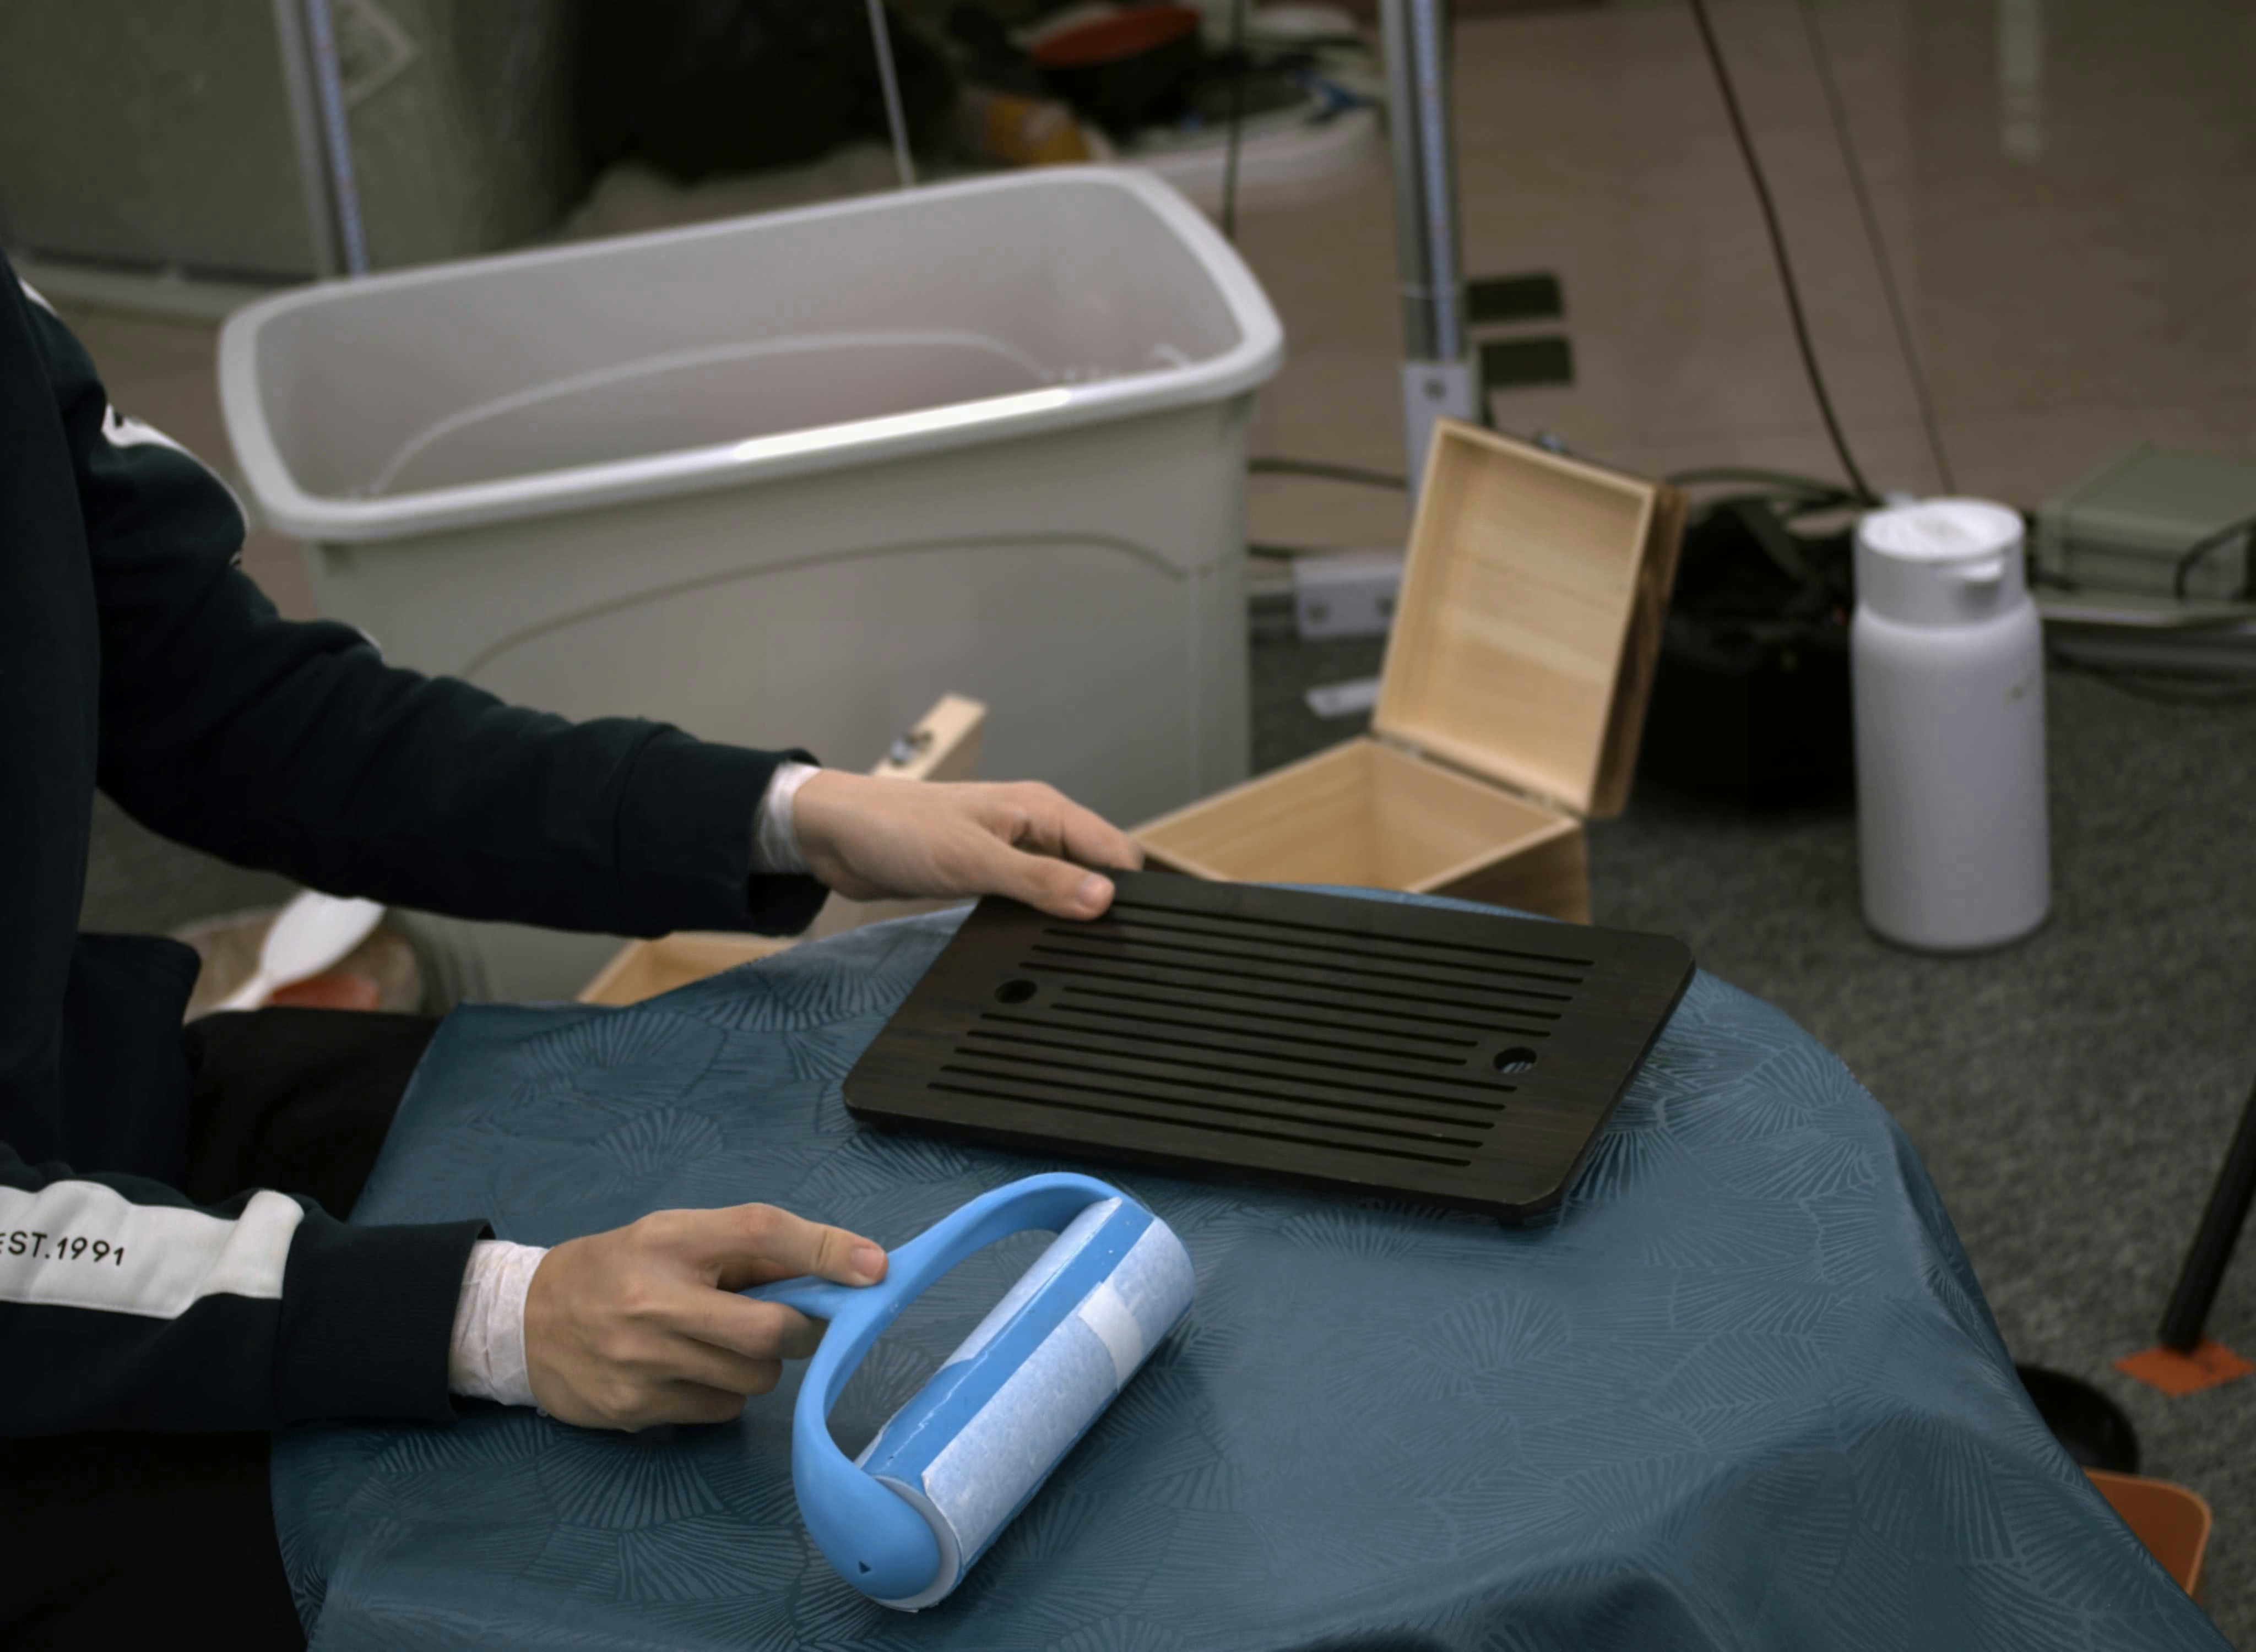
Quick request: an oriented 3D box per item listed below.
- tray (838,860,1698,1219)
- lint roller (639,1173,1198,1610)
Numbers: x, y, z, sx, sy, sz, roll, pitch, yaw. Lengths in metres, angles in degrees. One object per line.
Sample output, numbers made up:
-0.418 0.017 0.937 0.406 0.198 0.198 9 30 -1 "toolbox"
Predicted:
0.054 0.081 2.201 0.305 0.019 0.167 6 38 26 "tray"
-0.093 0.188 1.984 0.179 0.069 0.226 9 31 21 "lint roller"
